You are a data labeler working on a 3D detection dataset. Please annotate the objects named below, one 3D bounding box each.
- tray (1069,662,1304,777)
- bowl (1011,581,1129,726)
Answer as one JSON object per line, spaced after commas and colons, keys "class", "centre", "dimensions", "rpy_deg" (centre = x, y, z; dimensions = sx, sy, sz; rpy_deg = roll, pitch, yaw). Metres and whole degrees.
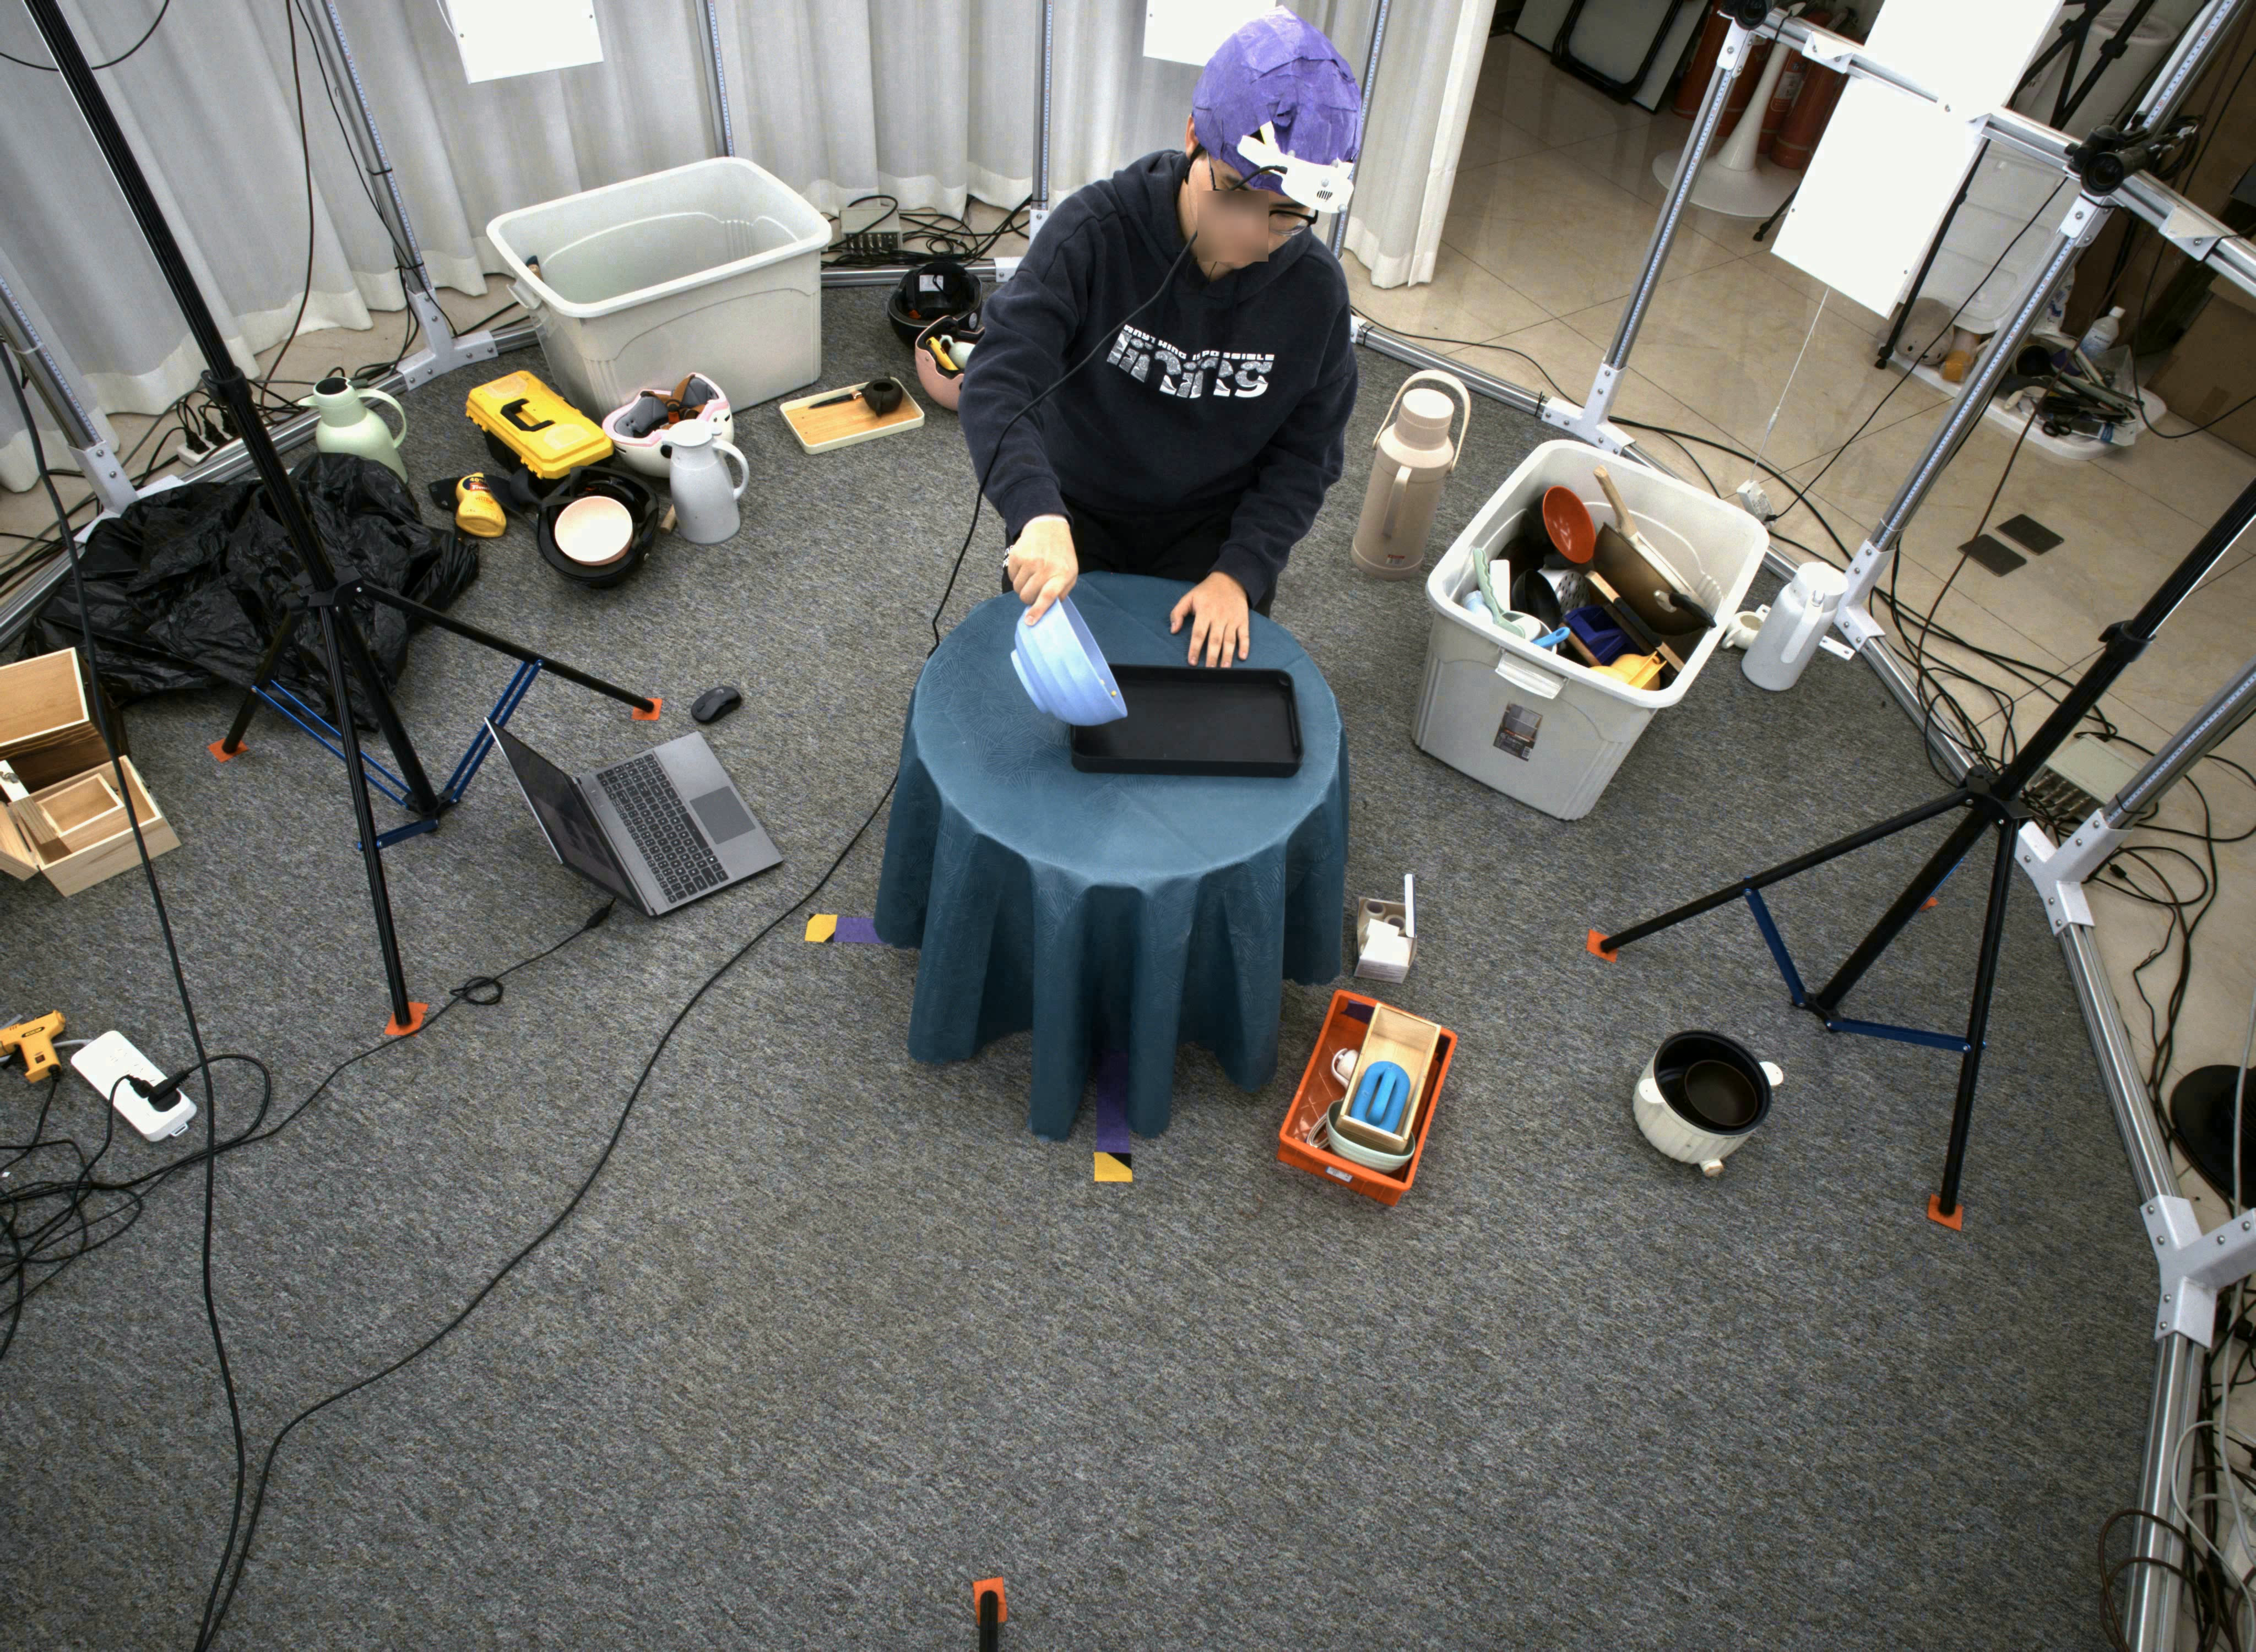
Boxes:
{"class": "tray", "centre": [0.076, -0.149, 1.776], "dimensions": [0.317, 0.036, 0.189], "rpy_deg": [2, 49, -3]}
{"class": "bowl", "centre": [-0.087, -0.208, 1.657], "dimensions": [0.095, 0.192, 0.201], "rpy_deg": [-27, 51, 10]}
